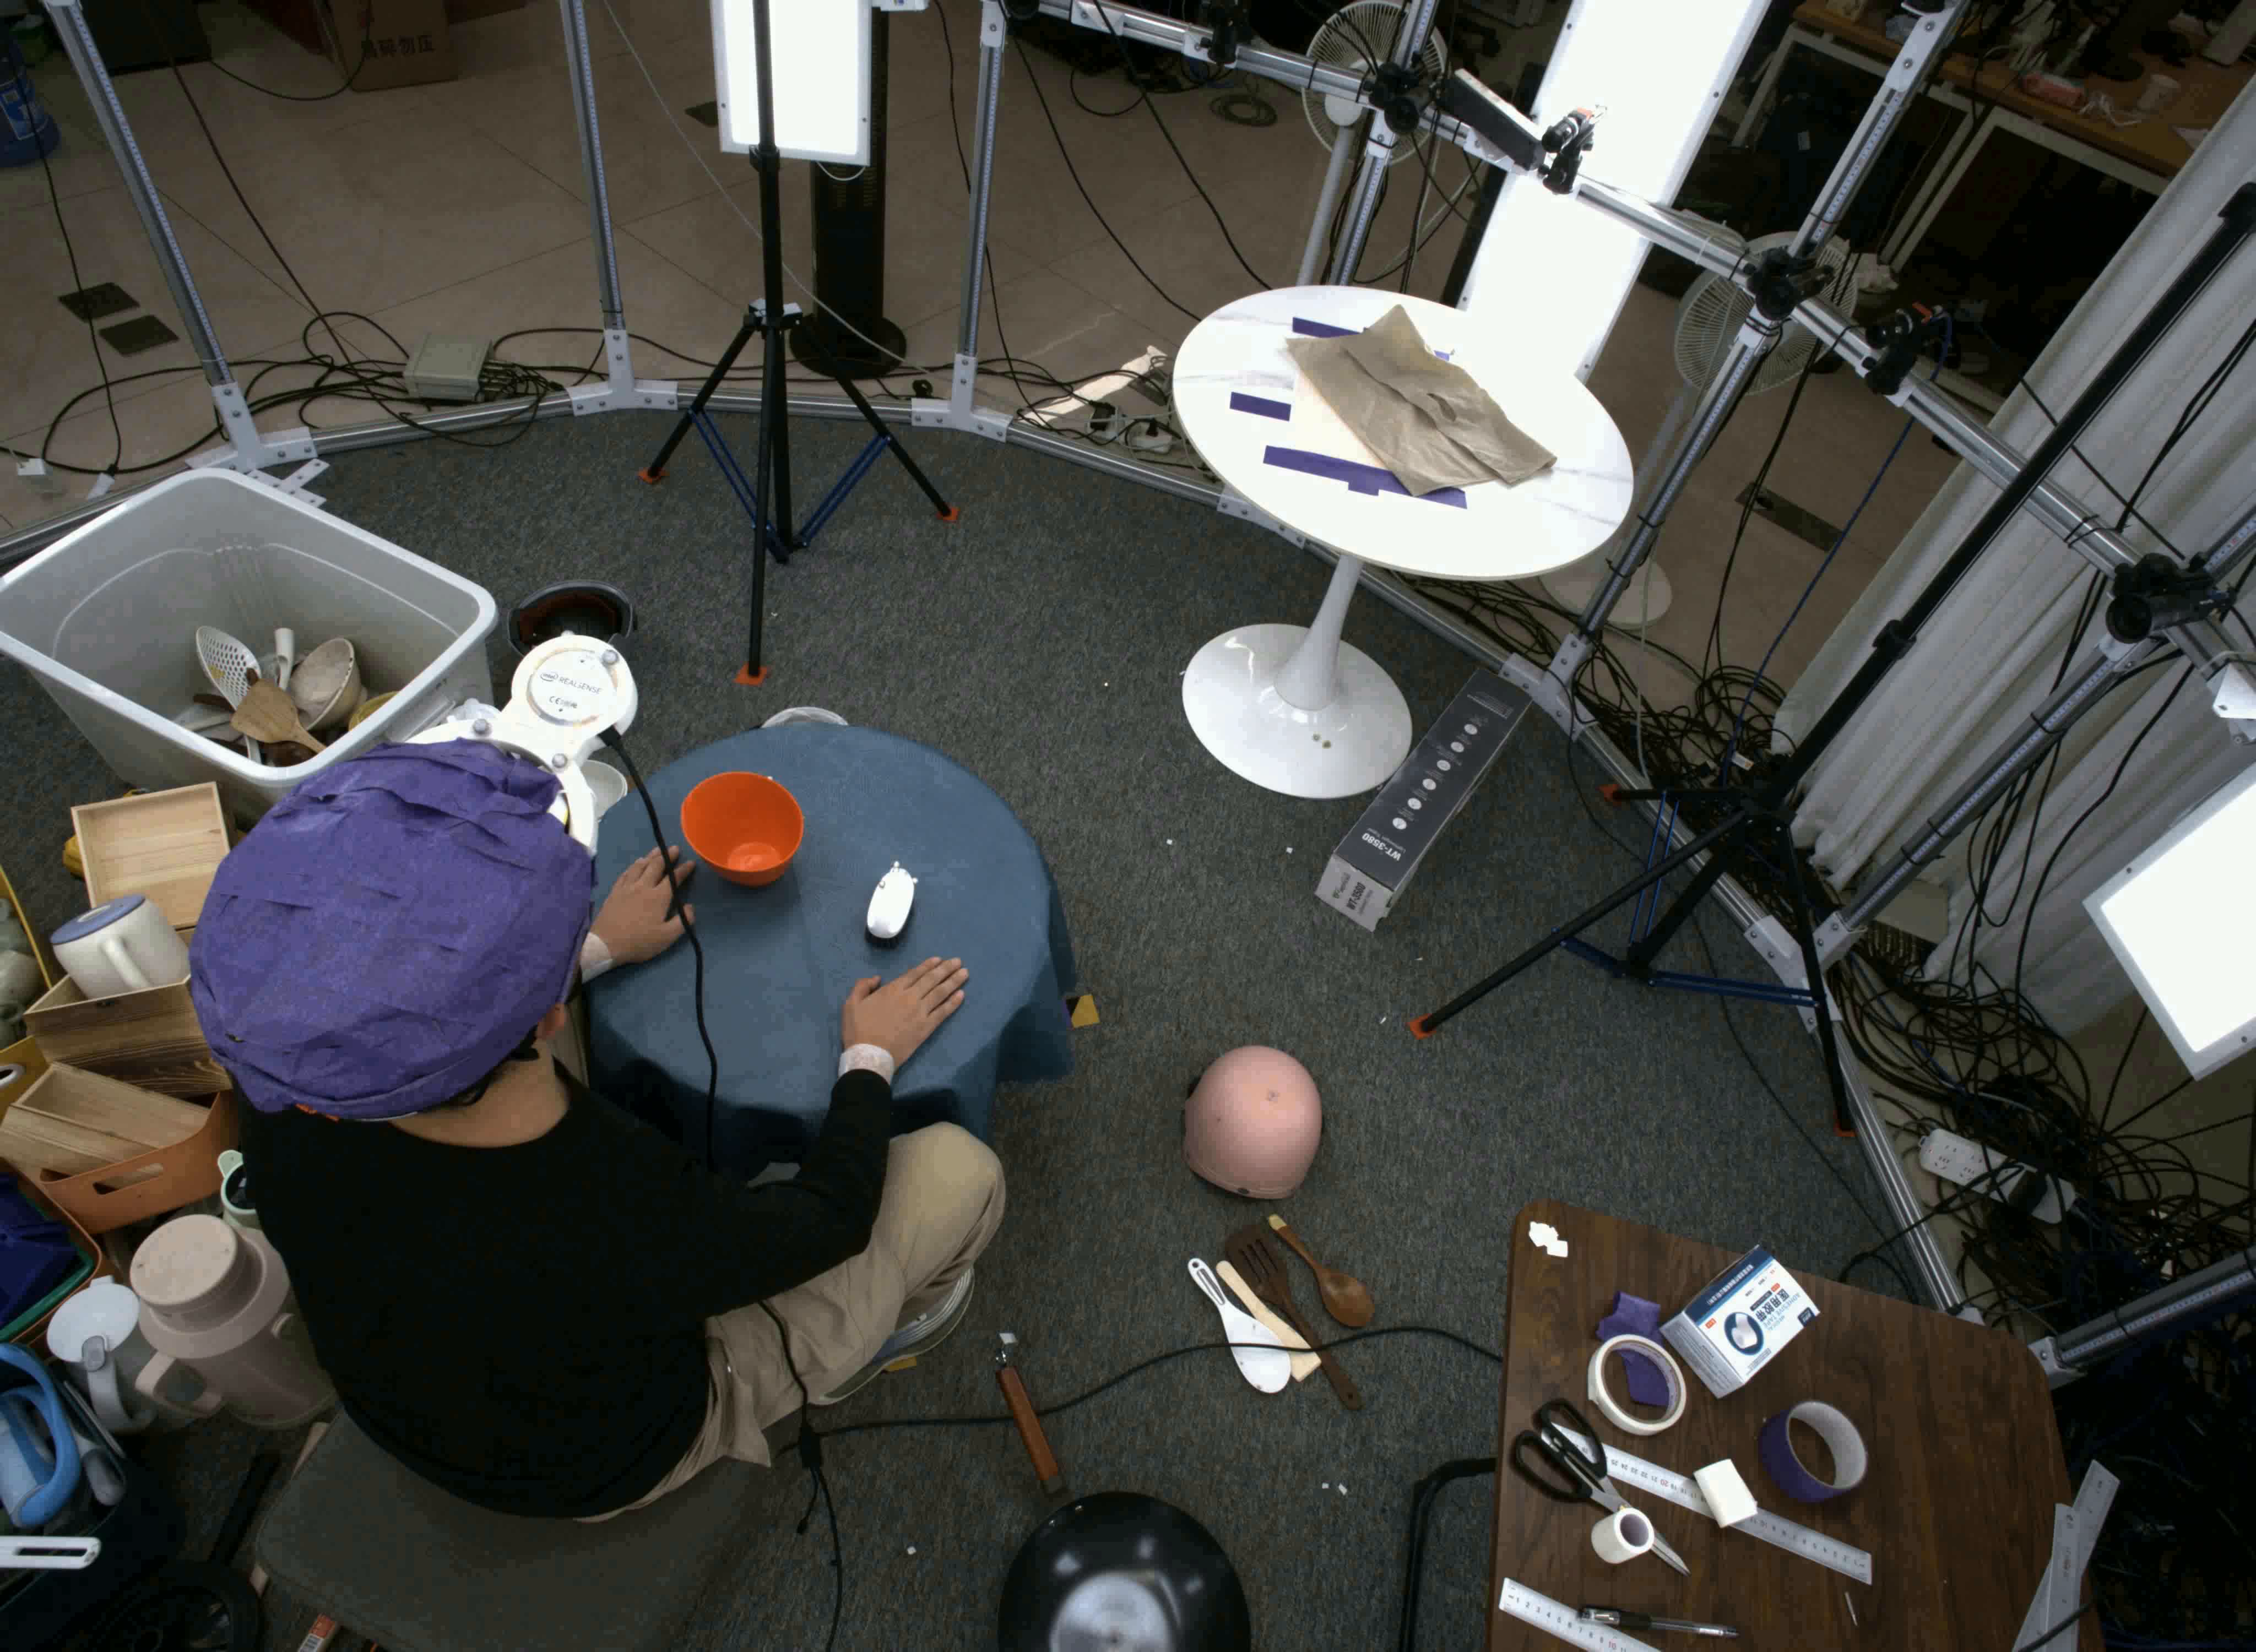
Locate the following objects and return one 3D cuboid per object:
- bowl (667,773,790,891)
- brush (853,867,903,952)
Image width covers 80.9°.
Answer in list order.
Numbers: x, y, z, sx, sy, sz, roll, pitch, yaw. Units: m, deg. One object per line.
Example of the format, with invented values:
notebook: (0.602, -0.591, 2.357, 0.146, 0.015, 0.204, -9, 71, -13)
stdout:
bowl: (-0.497, 0.019, 1.622, 0.148, 0.107, 0.145, 8, 53, -9)
brush: (-0.313, 0.095, 1.629, 0.050, 0.074, 0.098, 15, 51, -2)
